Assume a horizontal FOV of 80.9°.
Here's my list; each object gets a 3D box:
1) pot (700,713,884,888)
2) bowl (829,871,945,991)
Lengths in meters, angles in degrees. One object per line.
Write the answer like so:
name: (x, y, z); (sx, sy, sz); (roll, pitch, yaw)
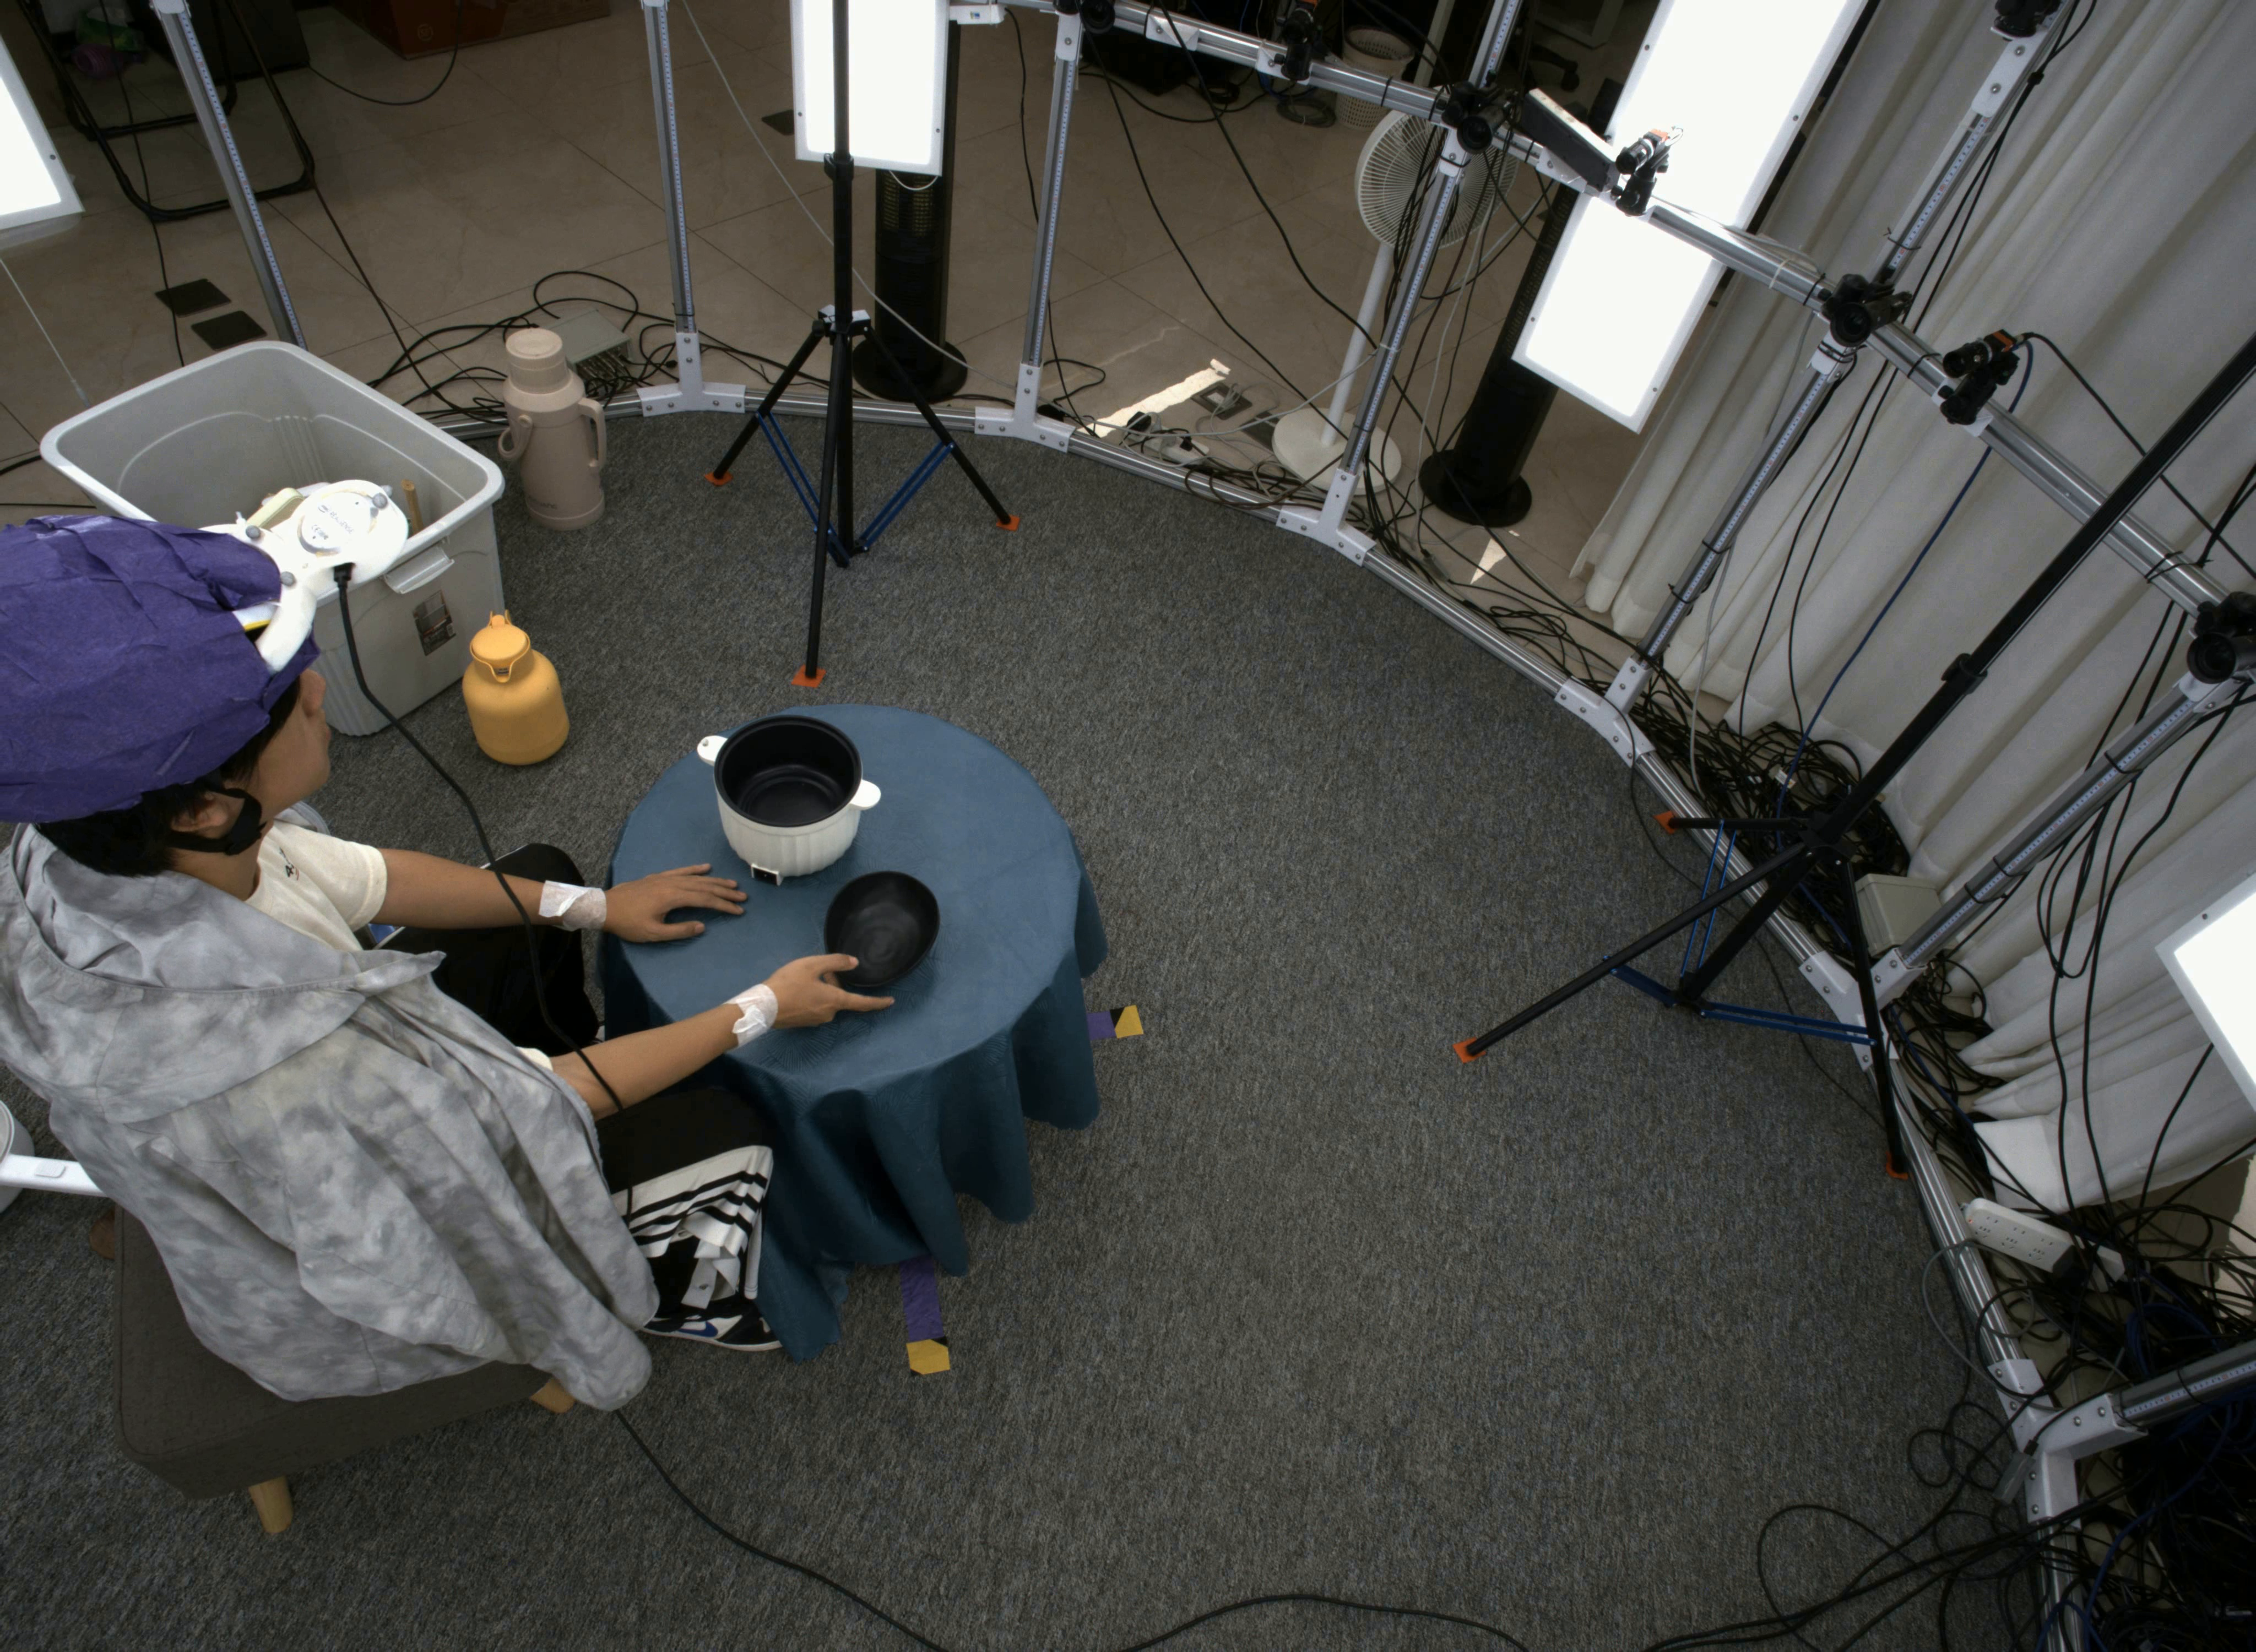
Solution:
pot: (-0.427, -0.036, 1.663); (0.238, 0.145, 0.188); (17, 55, -1)
bowl: (-0.298, 0.138, 1.614); (0.136, 0.068, 0.168); (16, 53, 1)
